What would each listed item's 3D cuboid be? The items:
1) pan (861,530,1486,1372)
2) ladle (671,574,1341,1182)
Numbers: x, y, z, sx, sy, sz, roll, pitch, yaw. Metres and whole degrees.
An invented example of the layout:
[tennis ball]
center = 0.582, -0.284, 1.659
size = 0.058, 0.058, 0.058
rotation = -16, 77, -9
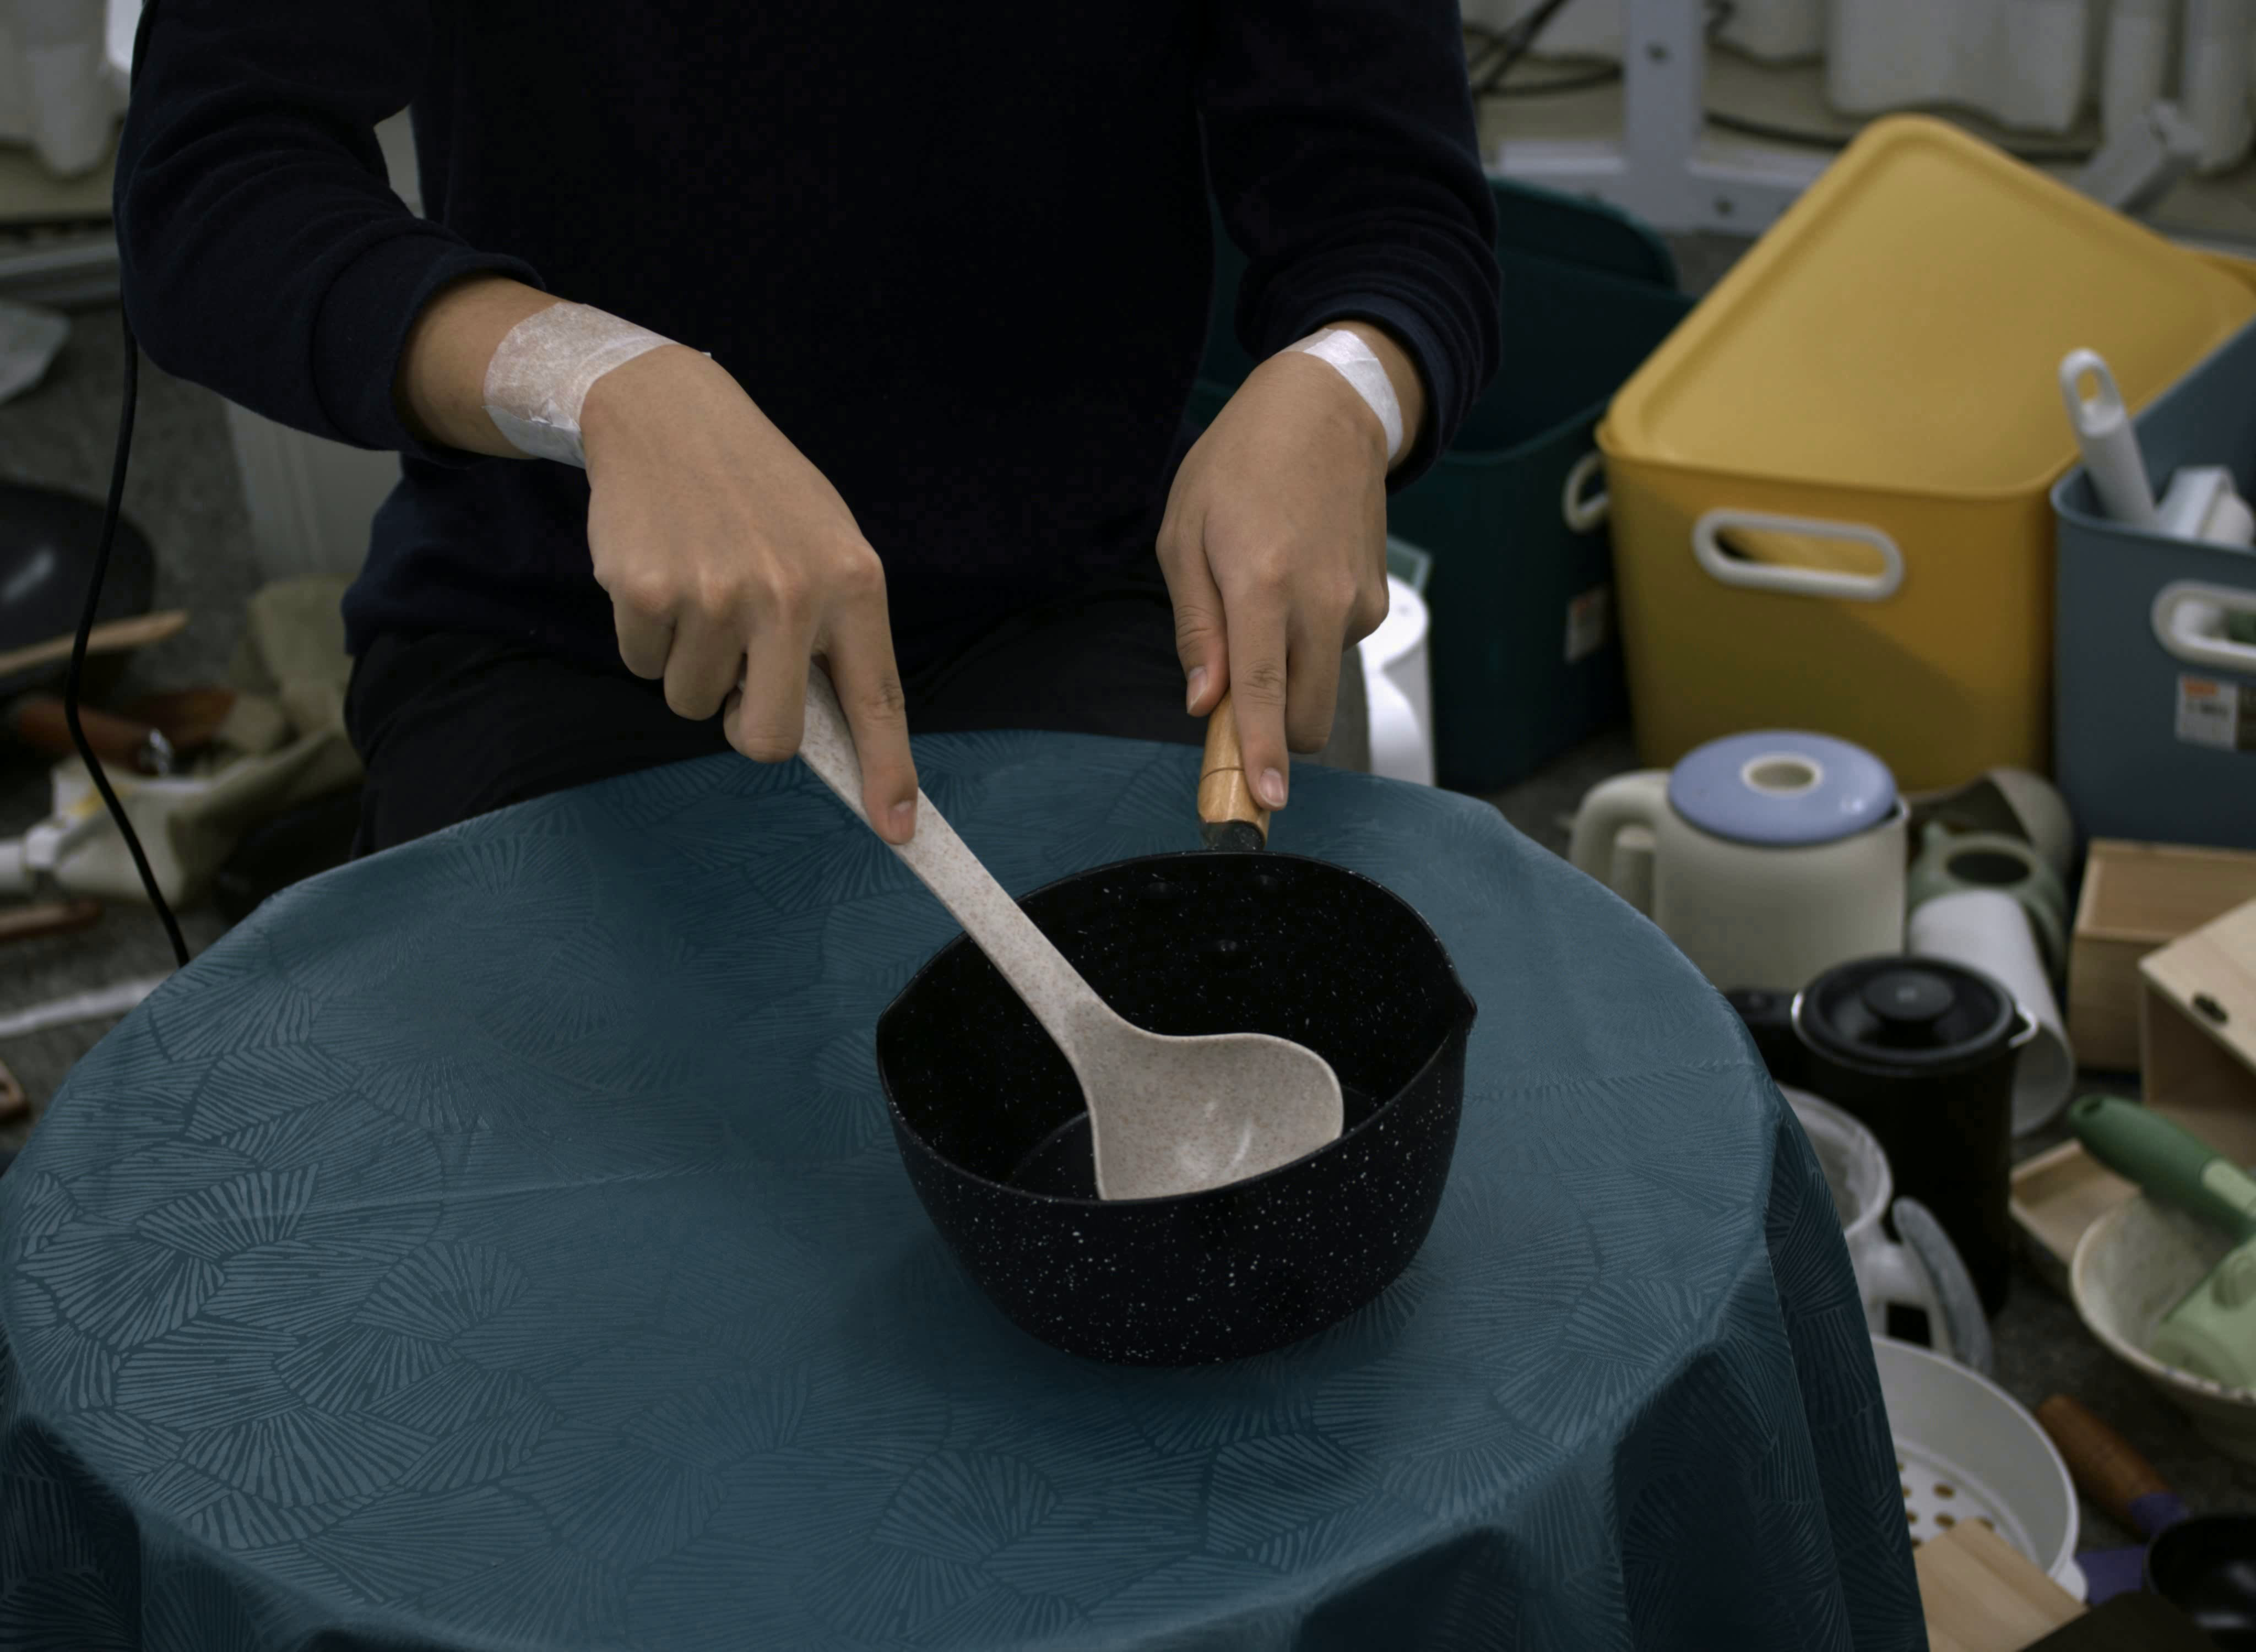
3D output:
[pan]
center = 0.028, 0.039, 1.860
size = 0.206, 0.107, 0.349
rotation = -4, 35, 13
[ladle]
center = -0.042, 0.020, 1.790
size = 0.090, 0.274, 0.068
rotation = -44, 9, -23
